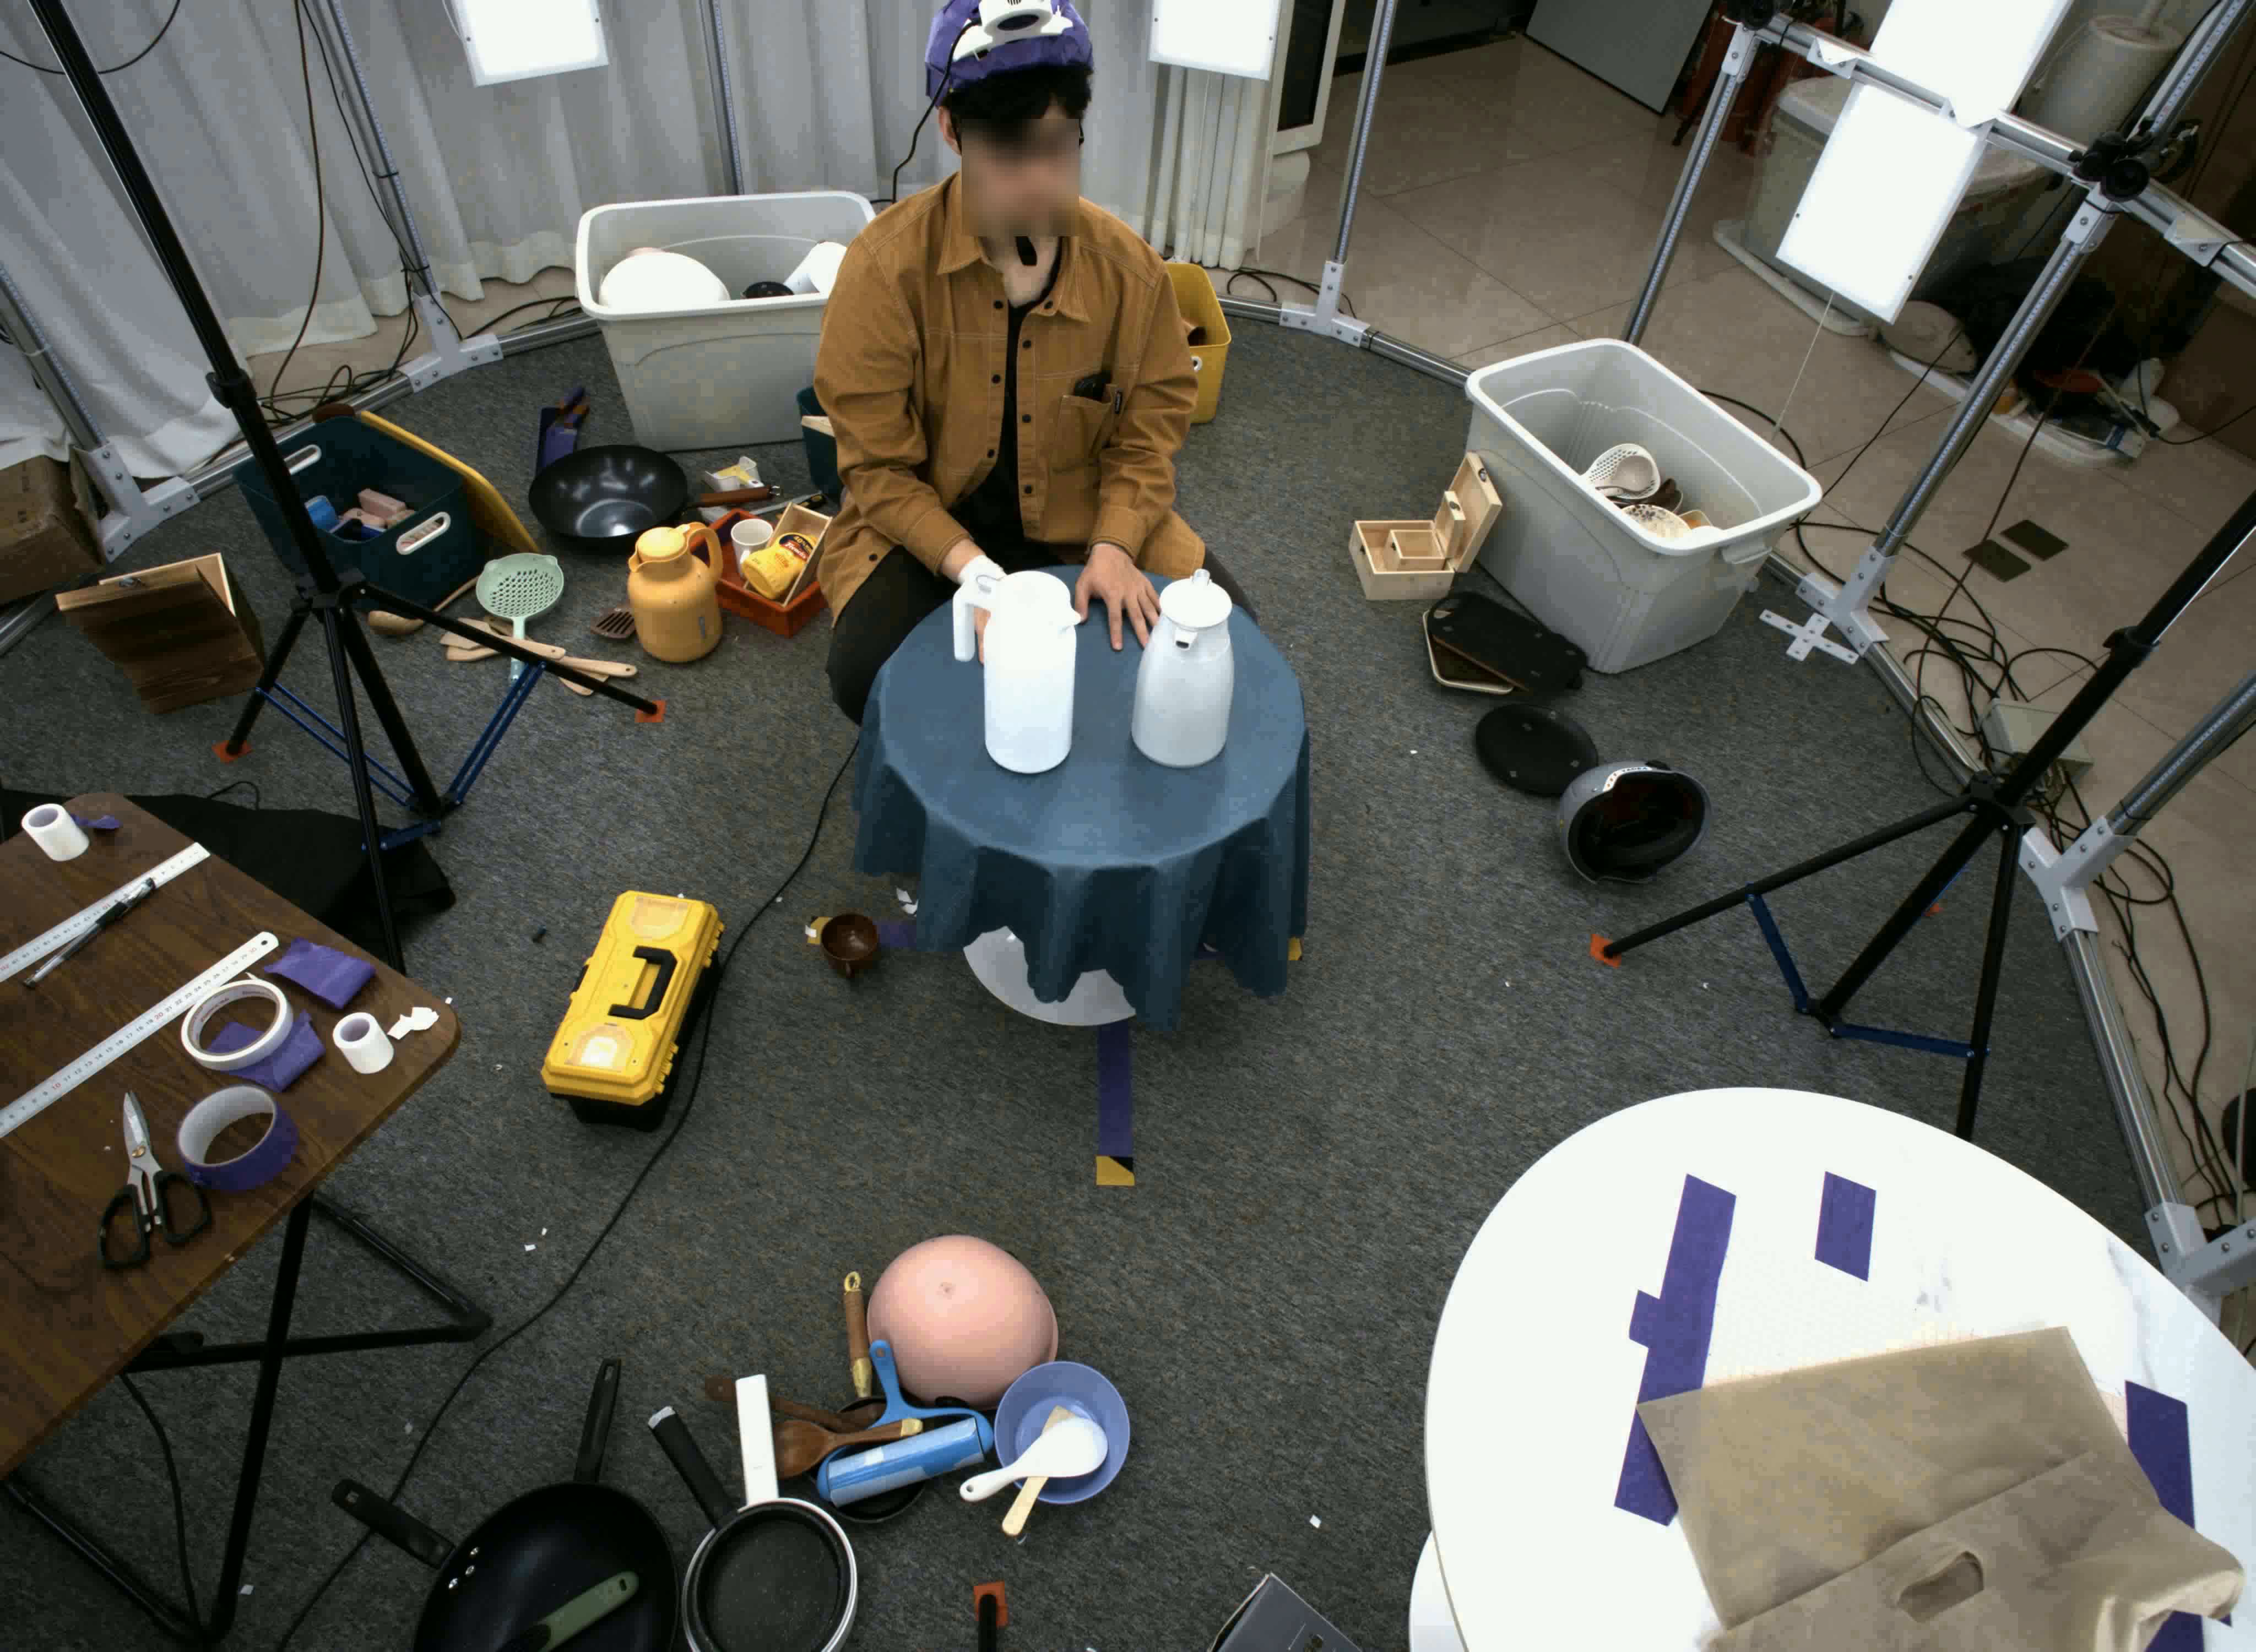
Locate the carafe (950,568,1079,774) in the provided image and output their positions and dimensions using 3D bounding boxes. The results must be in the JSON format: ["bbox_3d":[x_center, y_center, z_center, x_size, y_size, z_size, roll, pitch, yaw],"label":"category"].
[{"bbox_3d":[-0.146,-0.200,1.662,0.174,0.262,0.126,21,53,14],"label":"carafe"}]

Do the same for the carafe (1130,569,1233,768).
[{"bbox_3d":[0.081,-0.222,1.706,0.133,0.242,0.171,13,49,7],"label":"carafe"}]
